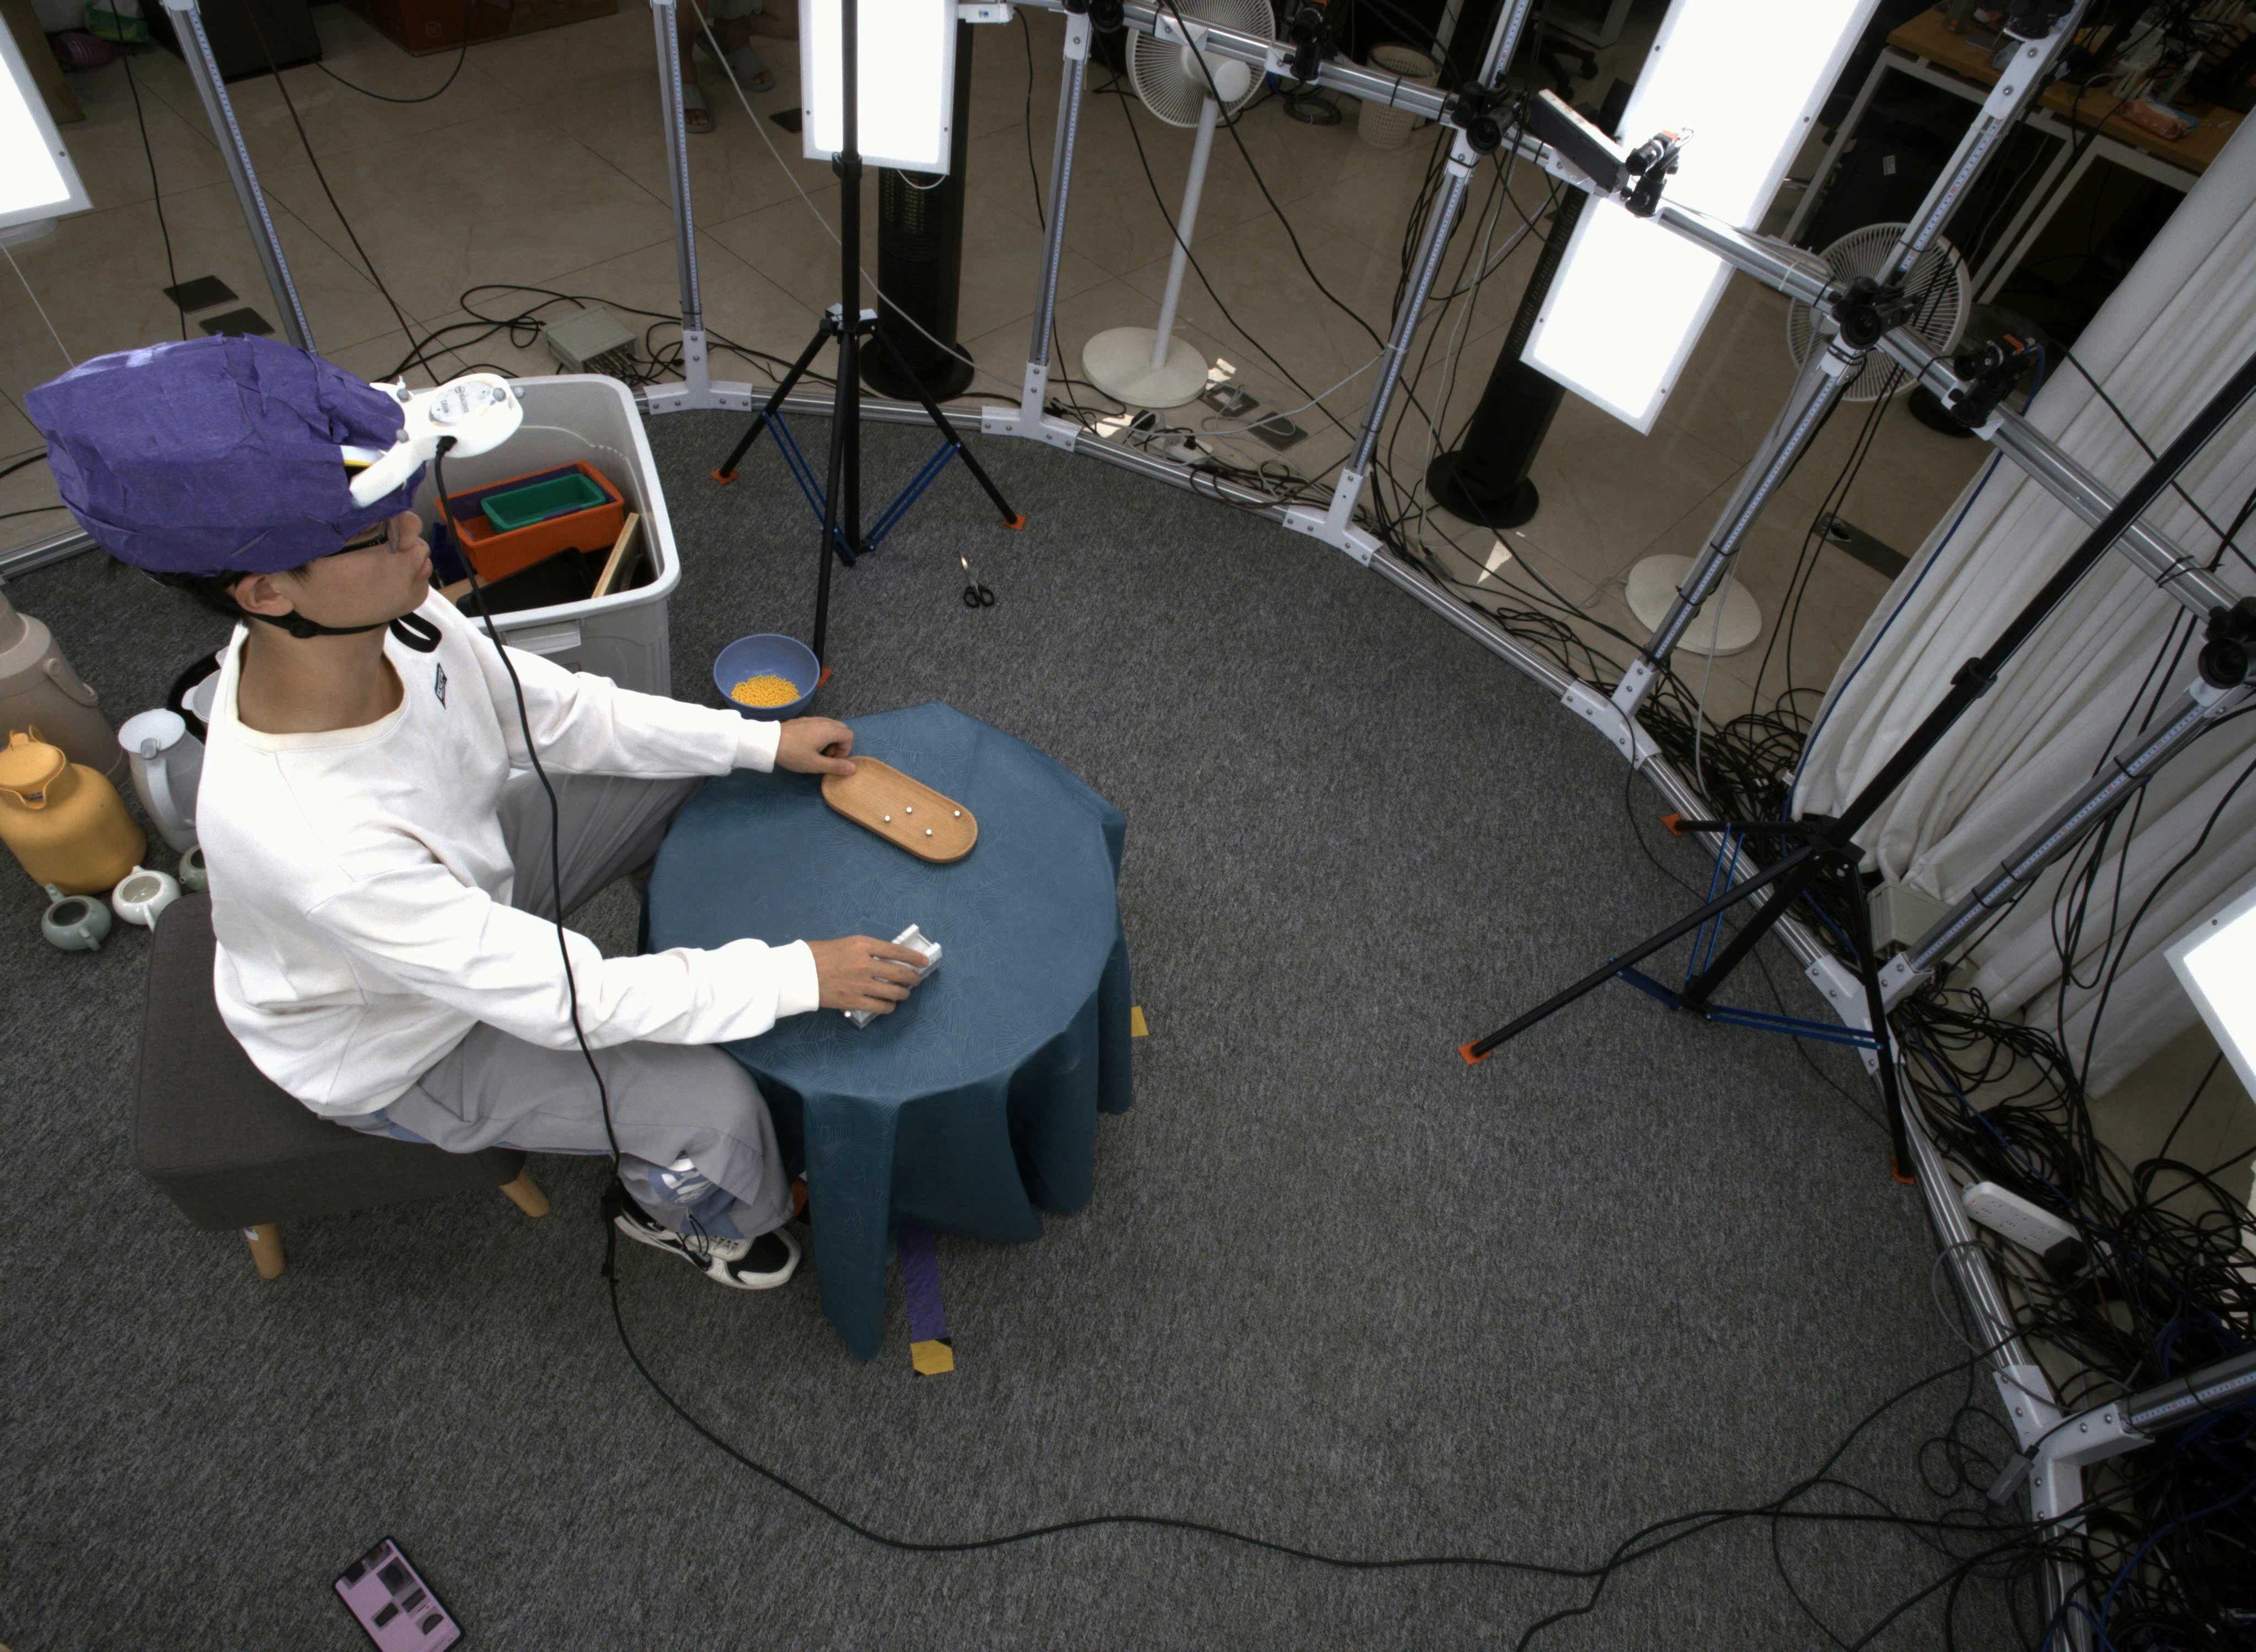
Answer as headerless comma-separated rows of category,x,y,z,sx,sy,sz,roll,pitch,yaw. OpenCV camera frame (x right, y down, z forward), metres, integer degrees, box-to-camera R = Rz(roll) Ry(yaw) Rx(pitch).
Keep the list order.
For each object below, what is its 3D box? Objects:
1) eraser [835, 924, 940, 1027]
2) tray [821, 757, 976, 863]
eraser,-0.295,0.181,1.599,0.048,0.048,0.134,32,52,21
tray,-0.312,-0.023,1.768,0.227,0.021,0.101,26,51,9
